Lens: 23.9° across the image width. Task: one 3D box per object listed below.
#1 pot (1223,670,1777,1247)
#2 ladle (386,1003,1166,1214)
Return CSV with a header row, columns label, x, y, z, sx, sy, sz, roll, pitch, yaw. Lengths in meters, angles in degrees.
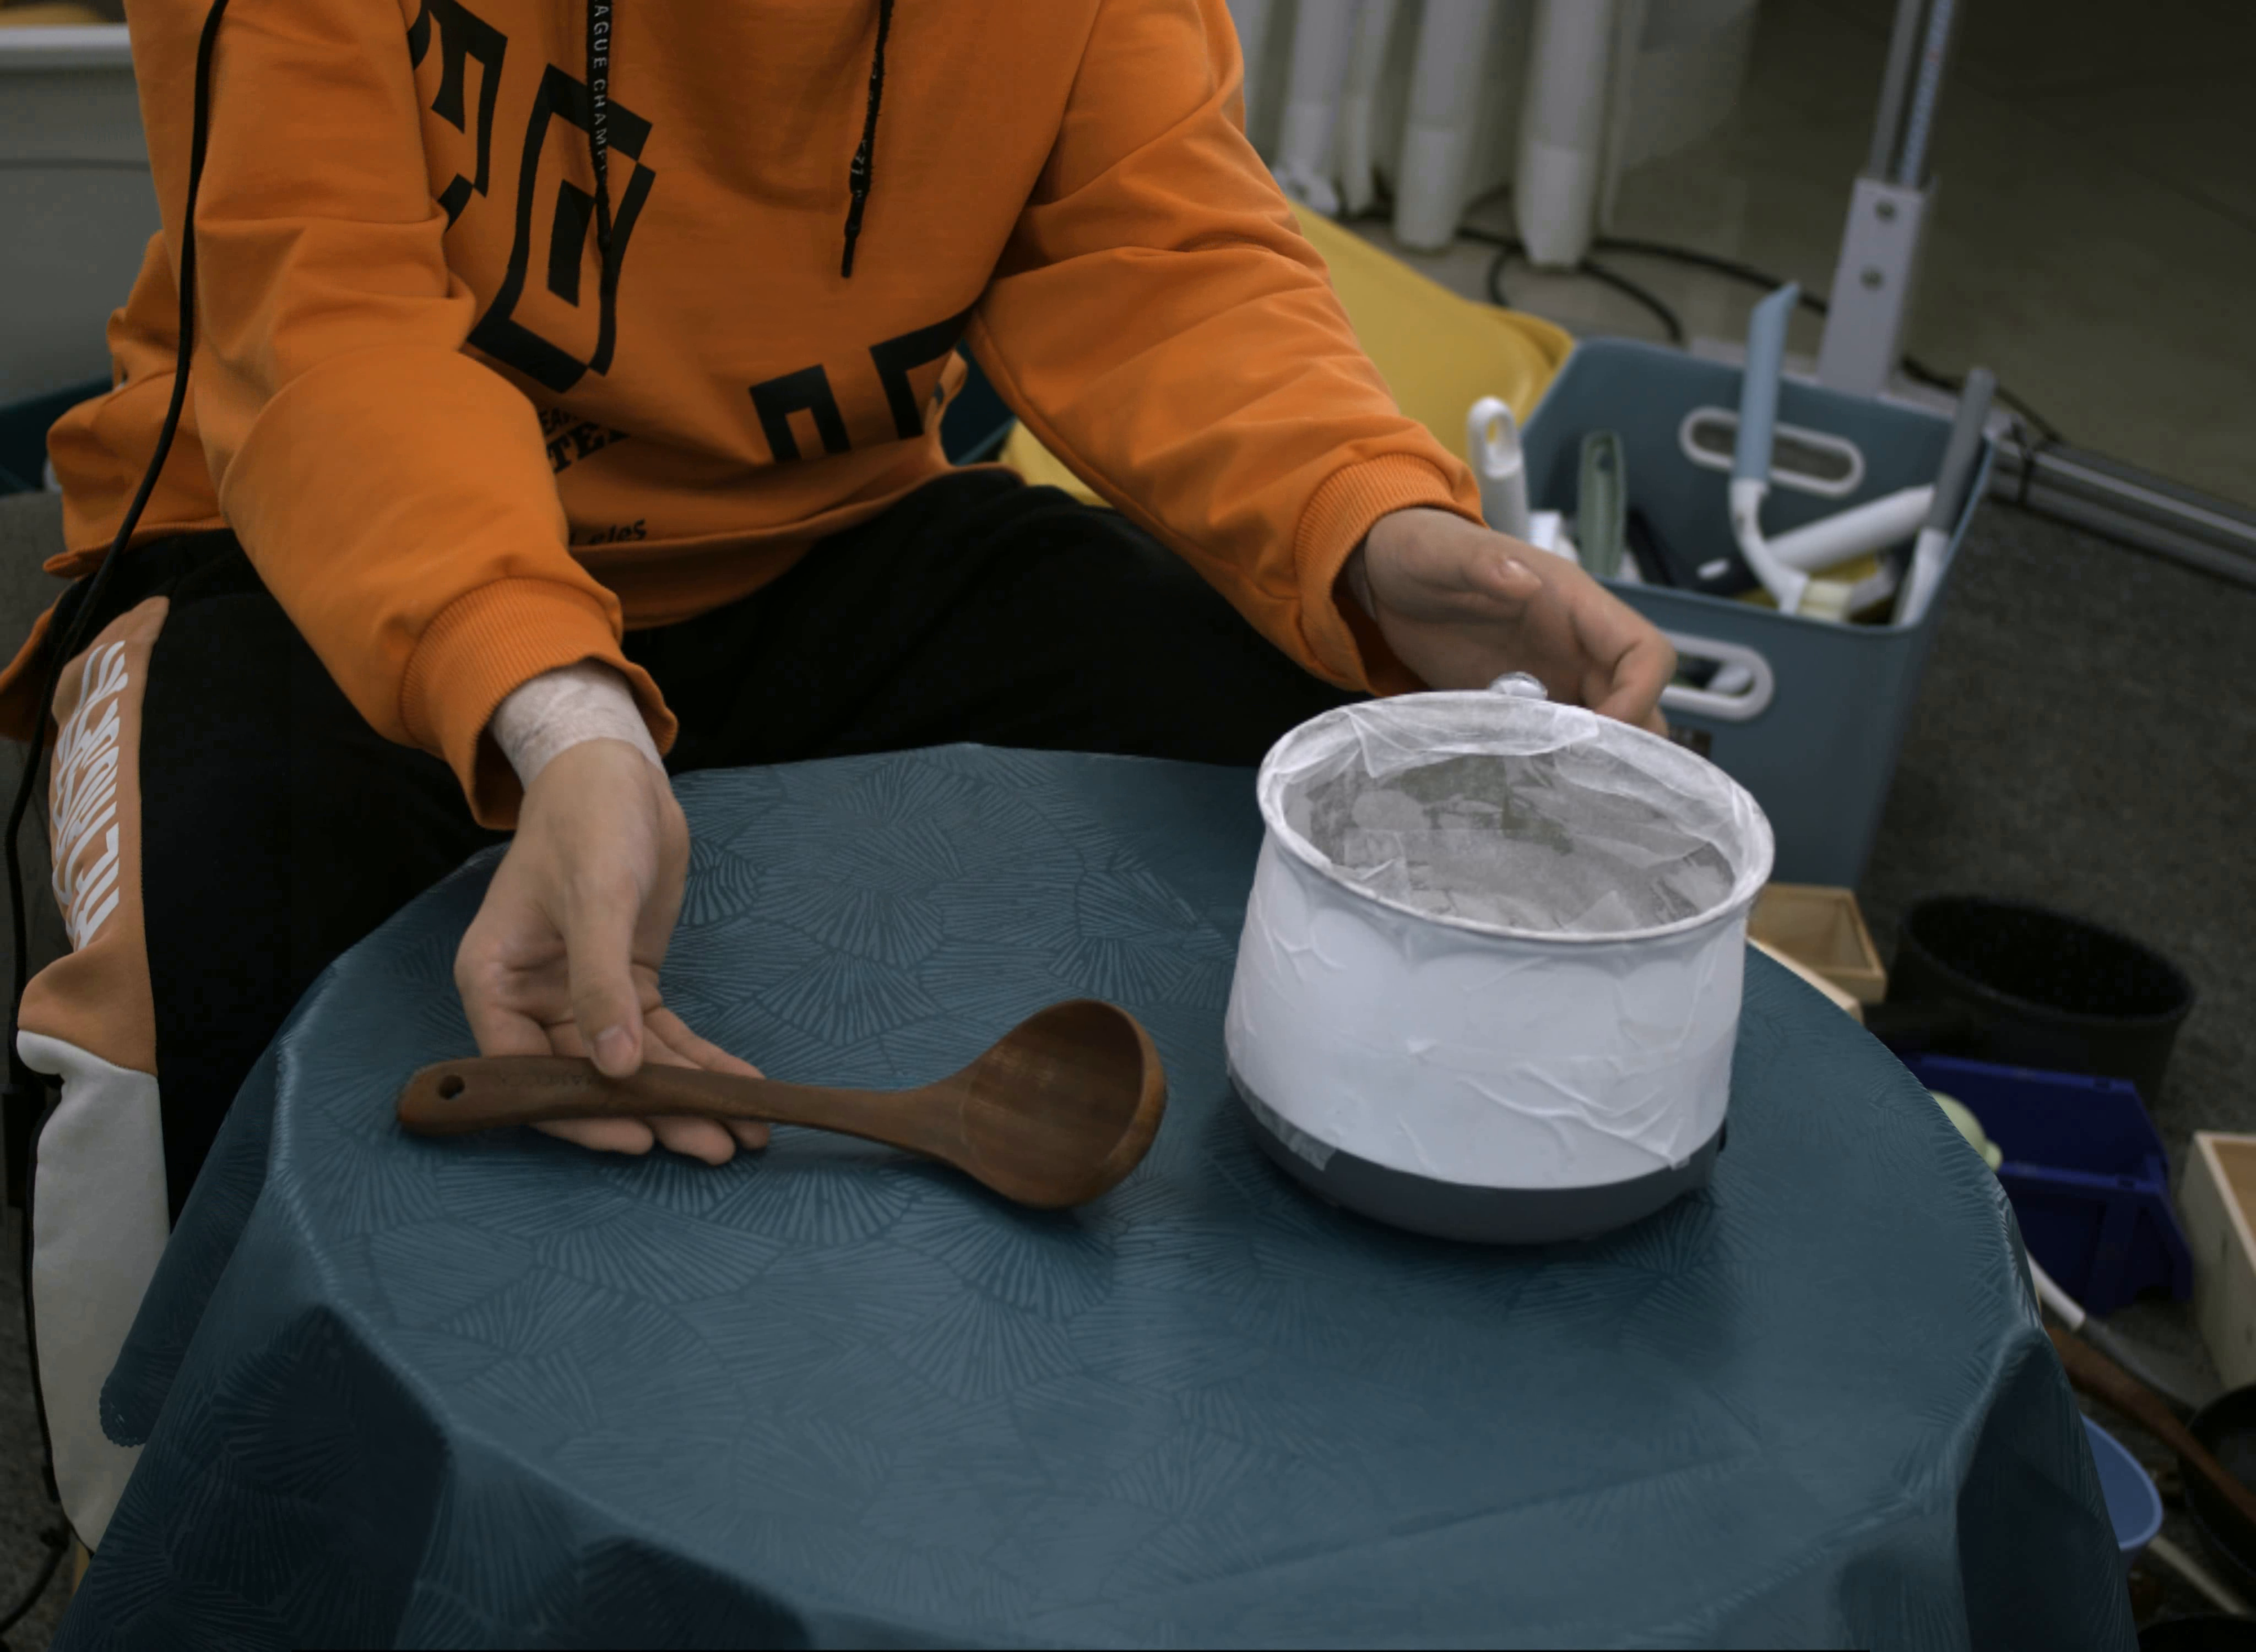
label,x,y,z,sx,sy,sz,roll,pitch,yaw
pot,0.125,0.038,1.847,0.178,0.136,0.235,7,27,0
ladle,-0.117,0.088,1.780,0.259,0.065,0.077,5,52,-5
